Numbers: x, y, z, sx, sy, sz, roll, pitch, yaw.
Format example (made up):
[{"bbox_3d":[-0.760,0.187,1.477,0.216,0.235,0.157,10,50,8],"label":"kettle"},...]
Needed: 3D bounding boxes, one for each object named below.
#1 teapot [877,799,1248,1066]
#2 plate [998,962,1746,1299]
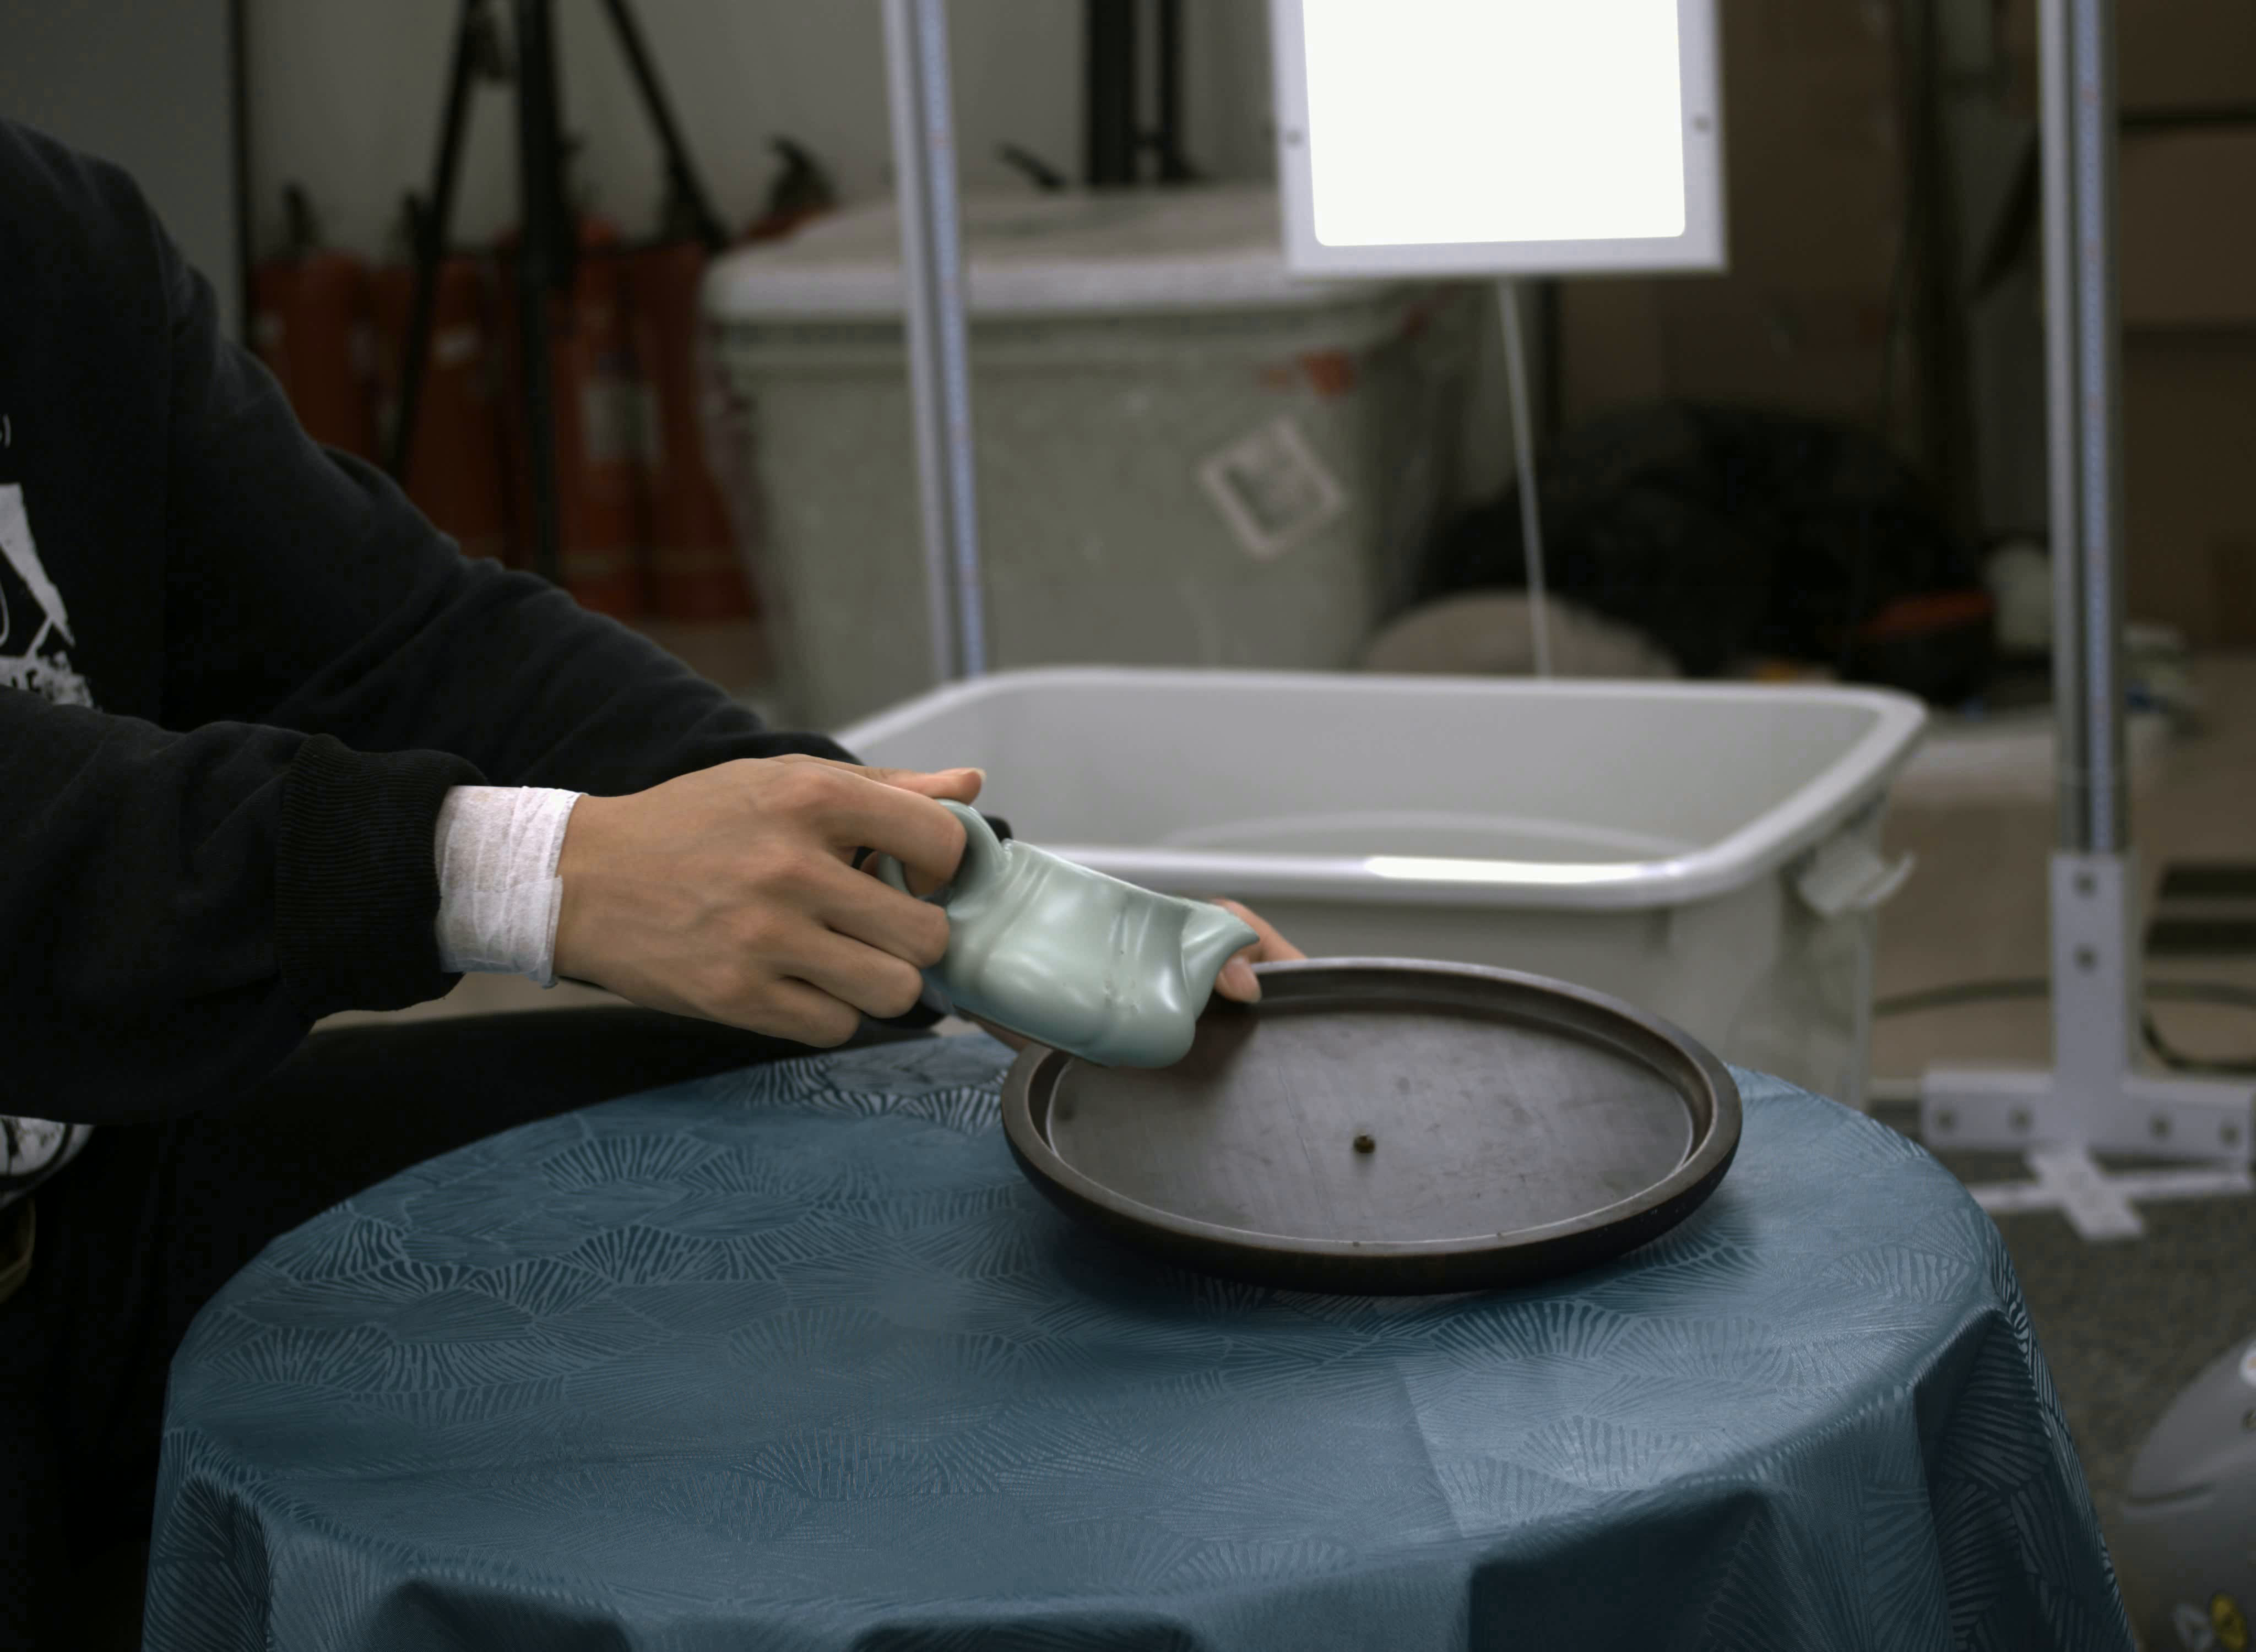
[{"bbox_3d":[-0.025,0.037,1.732,0.134,0.061,0.098,22,1,-30],"label":"teapot"},{"bbox_3d":[0.082,0.100,1.862,0.254,0.029,0.254,-1,22,-1],"label":"plate"}]
